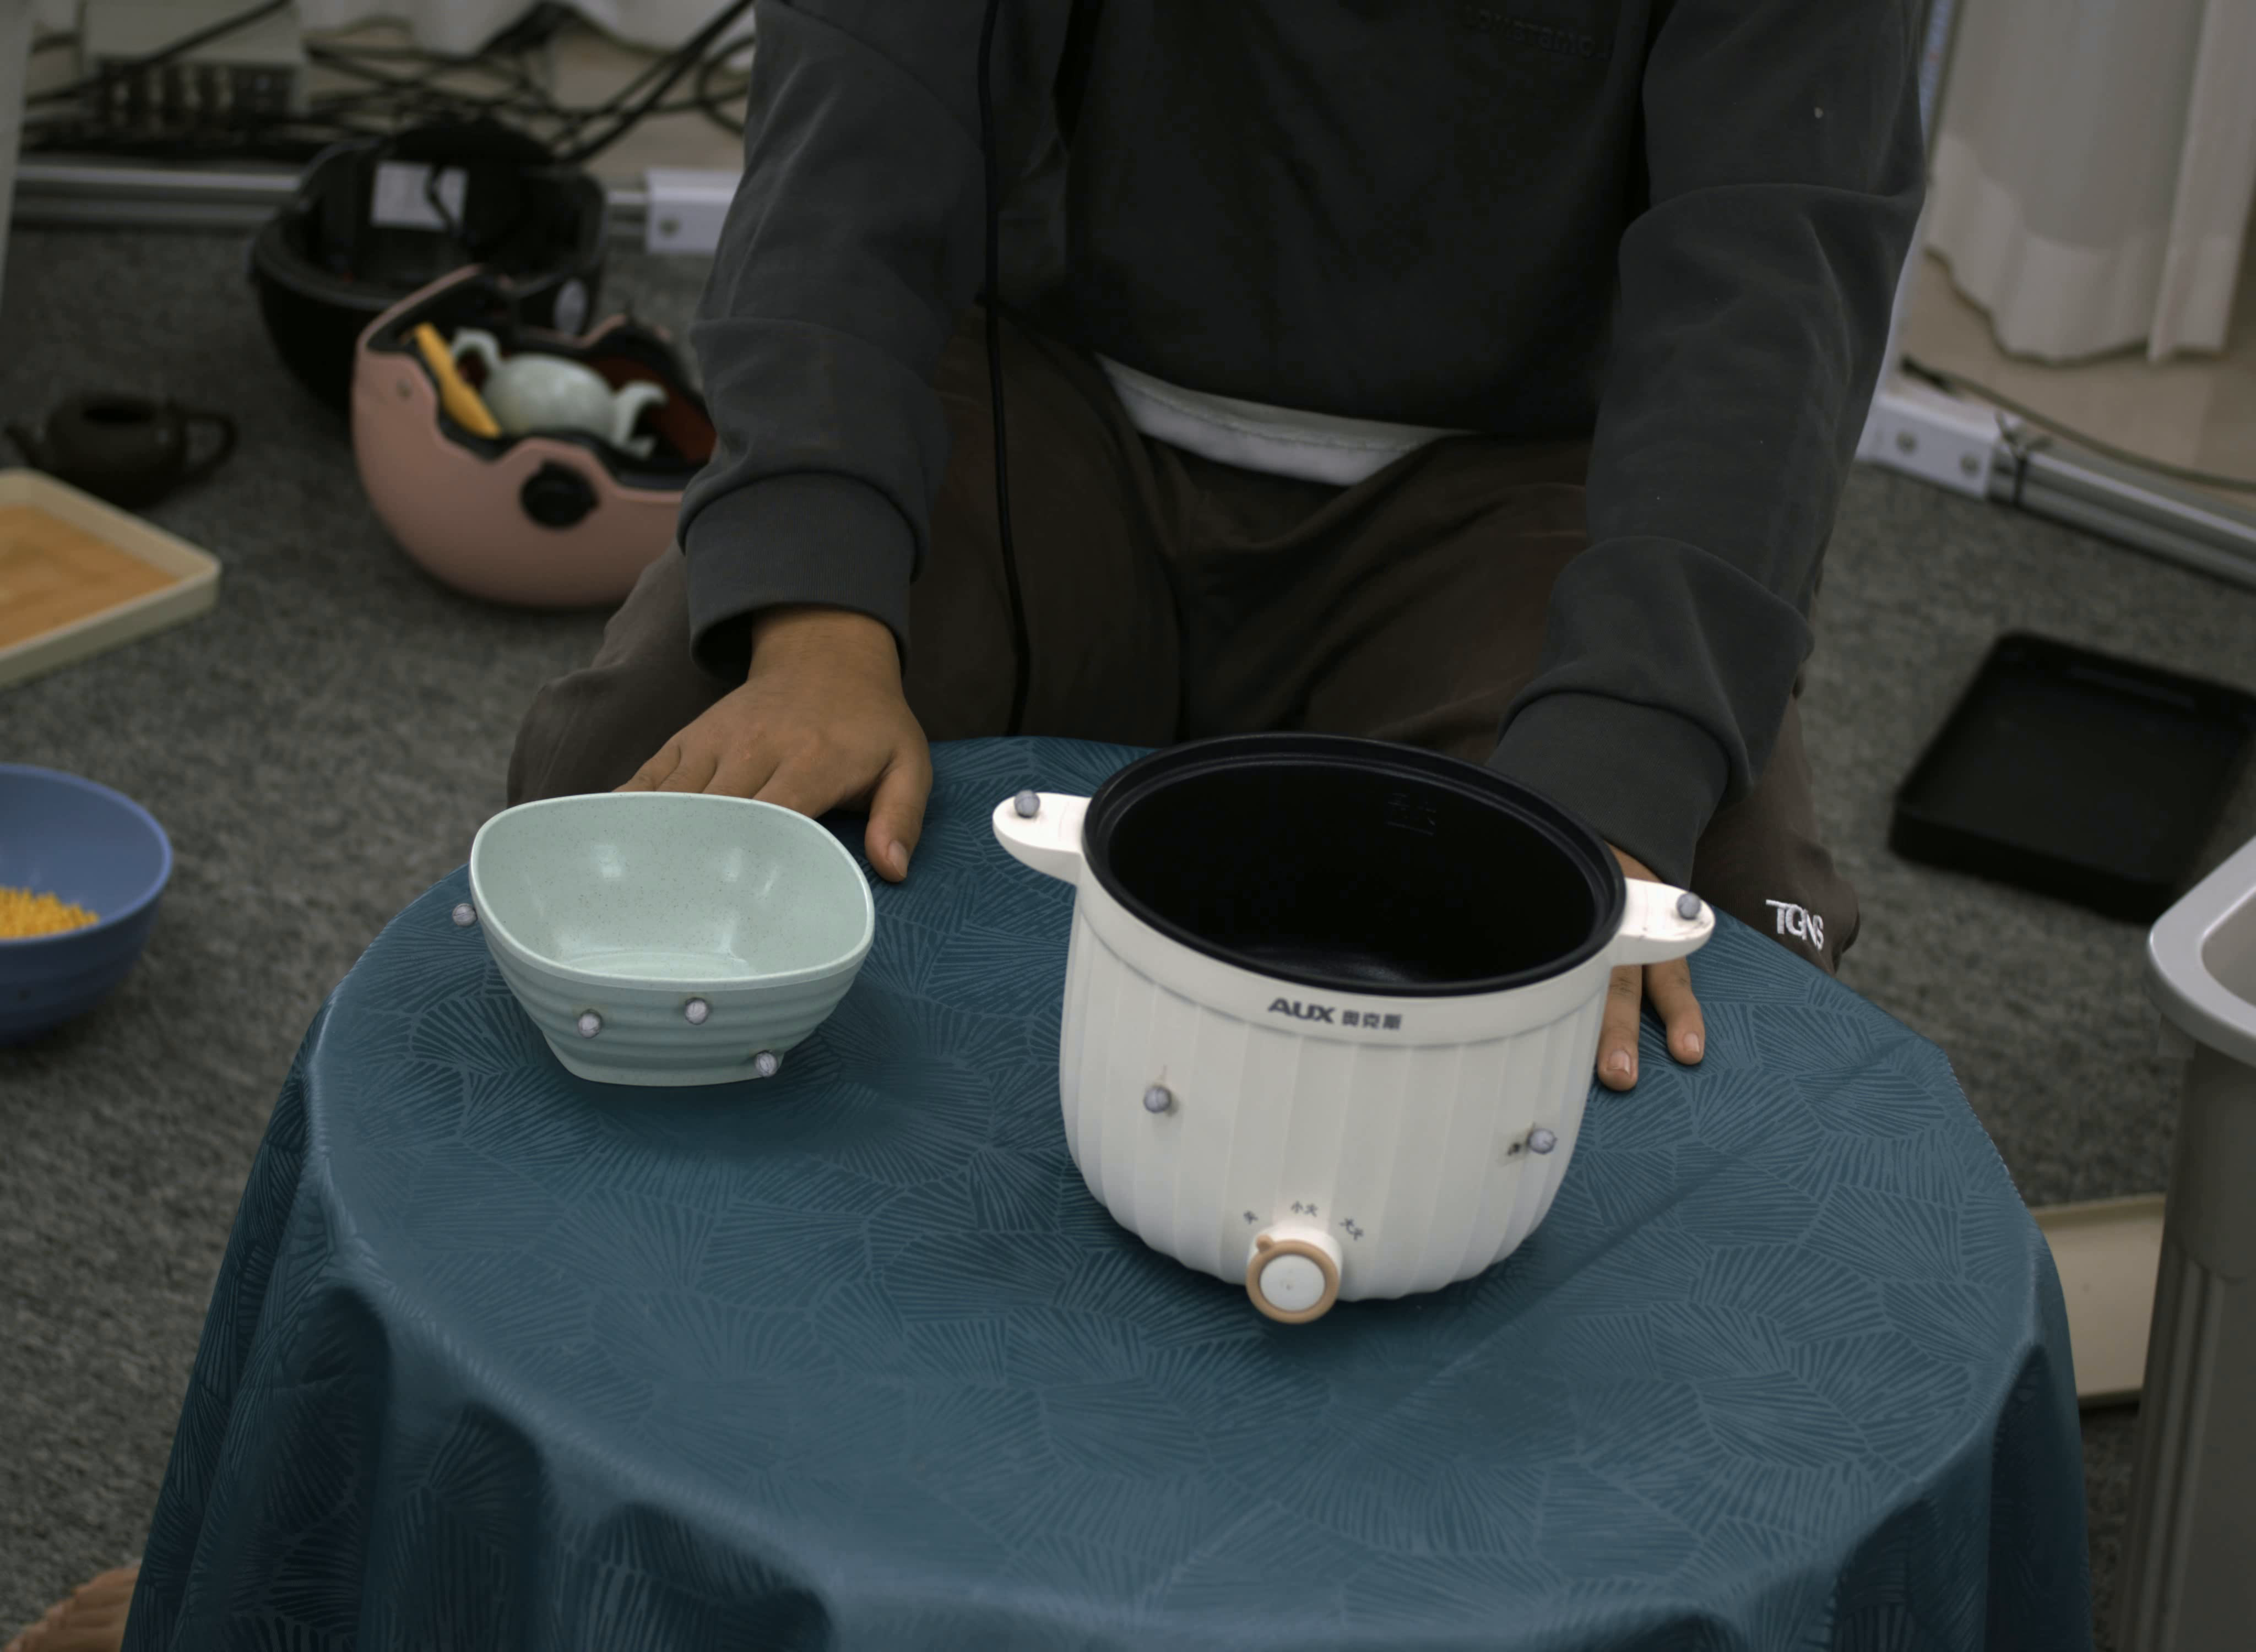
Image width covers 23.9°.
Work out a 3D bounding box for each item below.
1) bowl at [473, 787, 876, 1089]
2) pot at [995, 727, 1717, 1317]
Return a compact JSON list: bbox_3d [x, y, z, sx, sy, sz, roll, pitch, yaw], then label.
[{"bbox_3d":[-0.160,0.045,1.861,0.151,0.058,0.152,5,29,-3],"label":"bowl"},{"bbox_3d":[0.069,0.069,1.776,0.240,0.142,0.191,6,23,2],"label":"pot"}]
